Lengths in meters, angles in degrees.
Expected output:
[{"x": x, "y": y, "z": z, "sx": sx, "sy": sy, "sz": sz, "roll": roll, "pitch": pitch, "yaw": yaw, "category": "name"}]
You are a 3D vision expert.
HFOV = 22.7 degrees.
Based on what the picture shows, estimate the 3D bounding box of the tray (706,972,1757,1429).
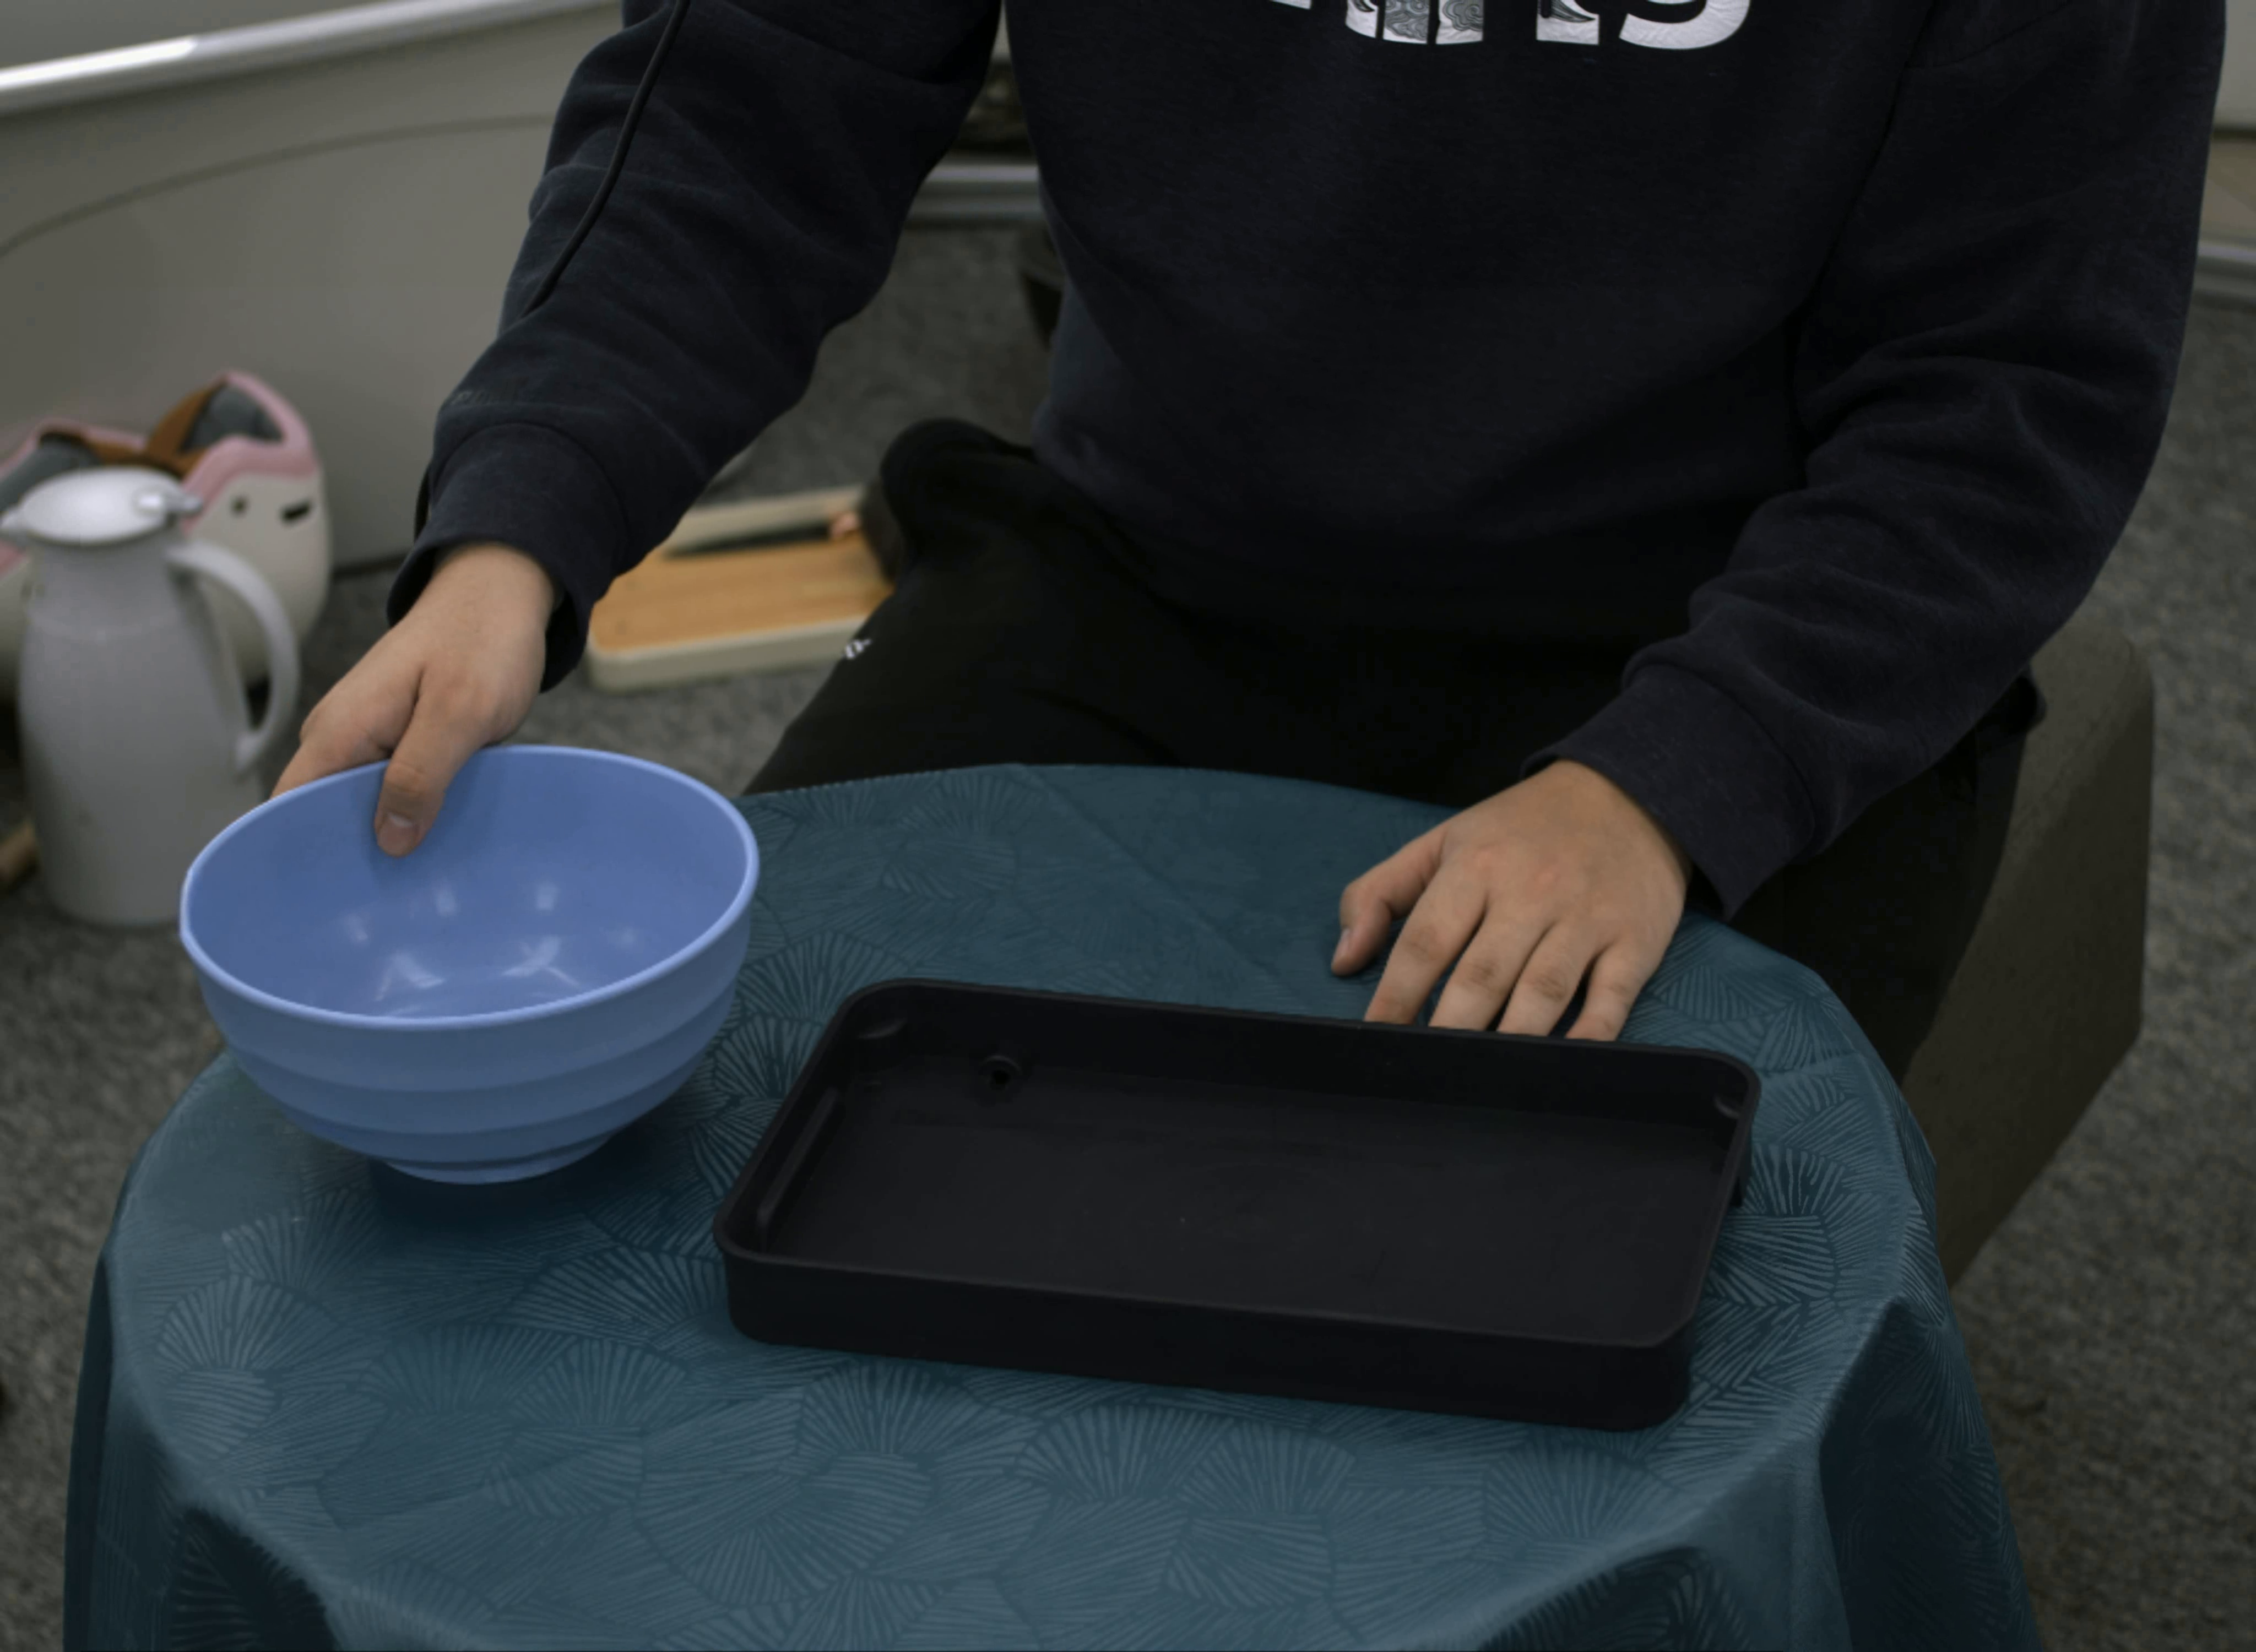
[{"x": 0.036, "y": 0.119, "z": 1.827, "sx": 0.316, "sy": 0.036, "sz": 0.187, "roll": 5, "pitch": 28, "yaw": 13, "category": "tray"}]

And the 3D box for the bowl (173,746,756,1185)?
[{"x": -0.219, "y": 0.058, "z": 1.903, "sx": 0.195, "sy": 0.094, "sz": 0.199, "roll": -3, "pitch": 27, "yaw": 2, "category": "bowl"}]
